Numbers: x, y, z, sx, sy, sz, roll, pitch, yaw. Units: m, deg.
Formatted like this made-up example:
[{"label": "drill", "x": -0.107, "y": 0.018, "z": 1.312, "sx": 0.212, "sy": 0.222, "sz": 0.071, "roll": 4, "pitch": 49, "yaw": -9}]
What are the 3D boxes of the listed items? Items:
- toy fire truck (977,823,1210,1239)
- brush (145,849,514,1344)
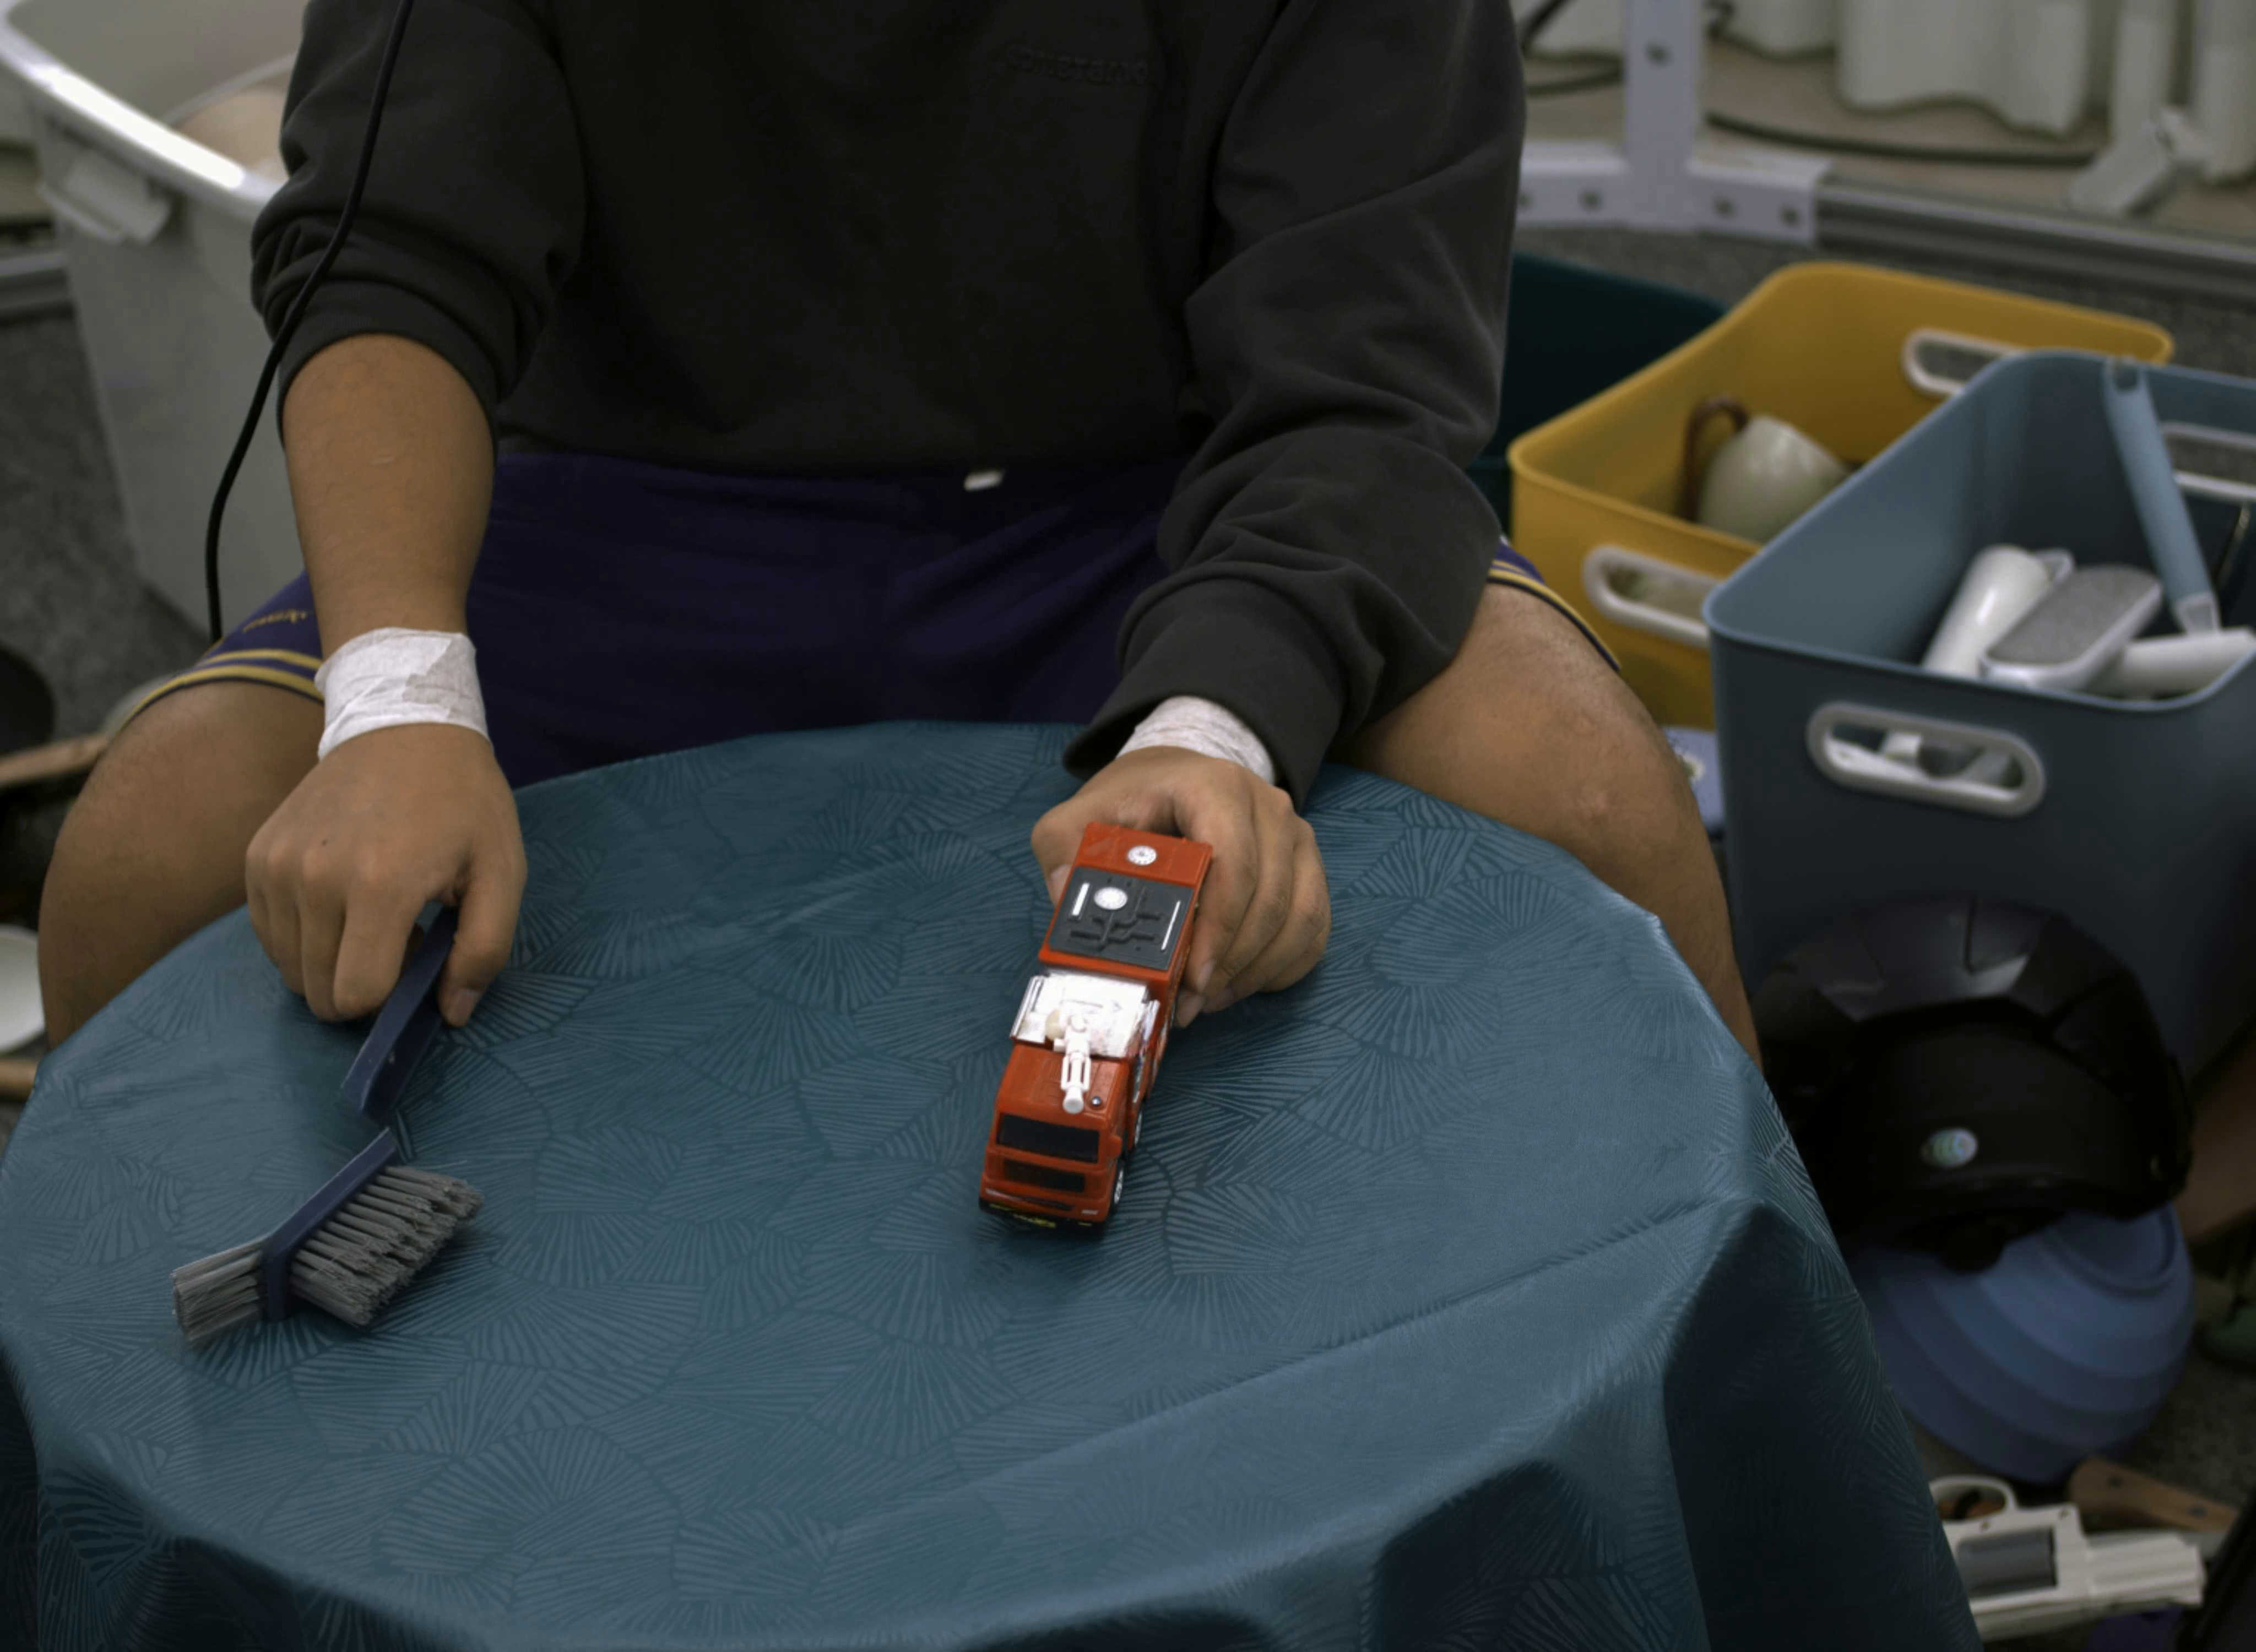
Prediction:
[{"label": "toy fire truck", "x": -0.010, "y": 0.067, "z": 1.882, "sx": 0.054, "sy": 0.069, "sz": 0.171, "roll": 10, "pitch": 37, "yaw": 7}, {"label": "brush", "x": -0.263, "y": 0.089, "z": 1.916, "sx": 0.095, "sy": 0.033, "sz": 0.277, "roll": -2, "pitch": 28, "yaw": 3}]
